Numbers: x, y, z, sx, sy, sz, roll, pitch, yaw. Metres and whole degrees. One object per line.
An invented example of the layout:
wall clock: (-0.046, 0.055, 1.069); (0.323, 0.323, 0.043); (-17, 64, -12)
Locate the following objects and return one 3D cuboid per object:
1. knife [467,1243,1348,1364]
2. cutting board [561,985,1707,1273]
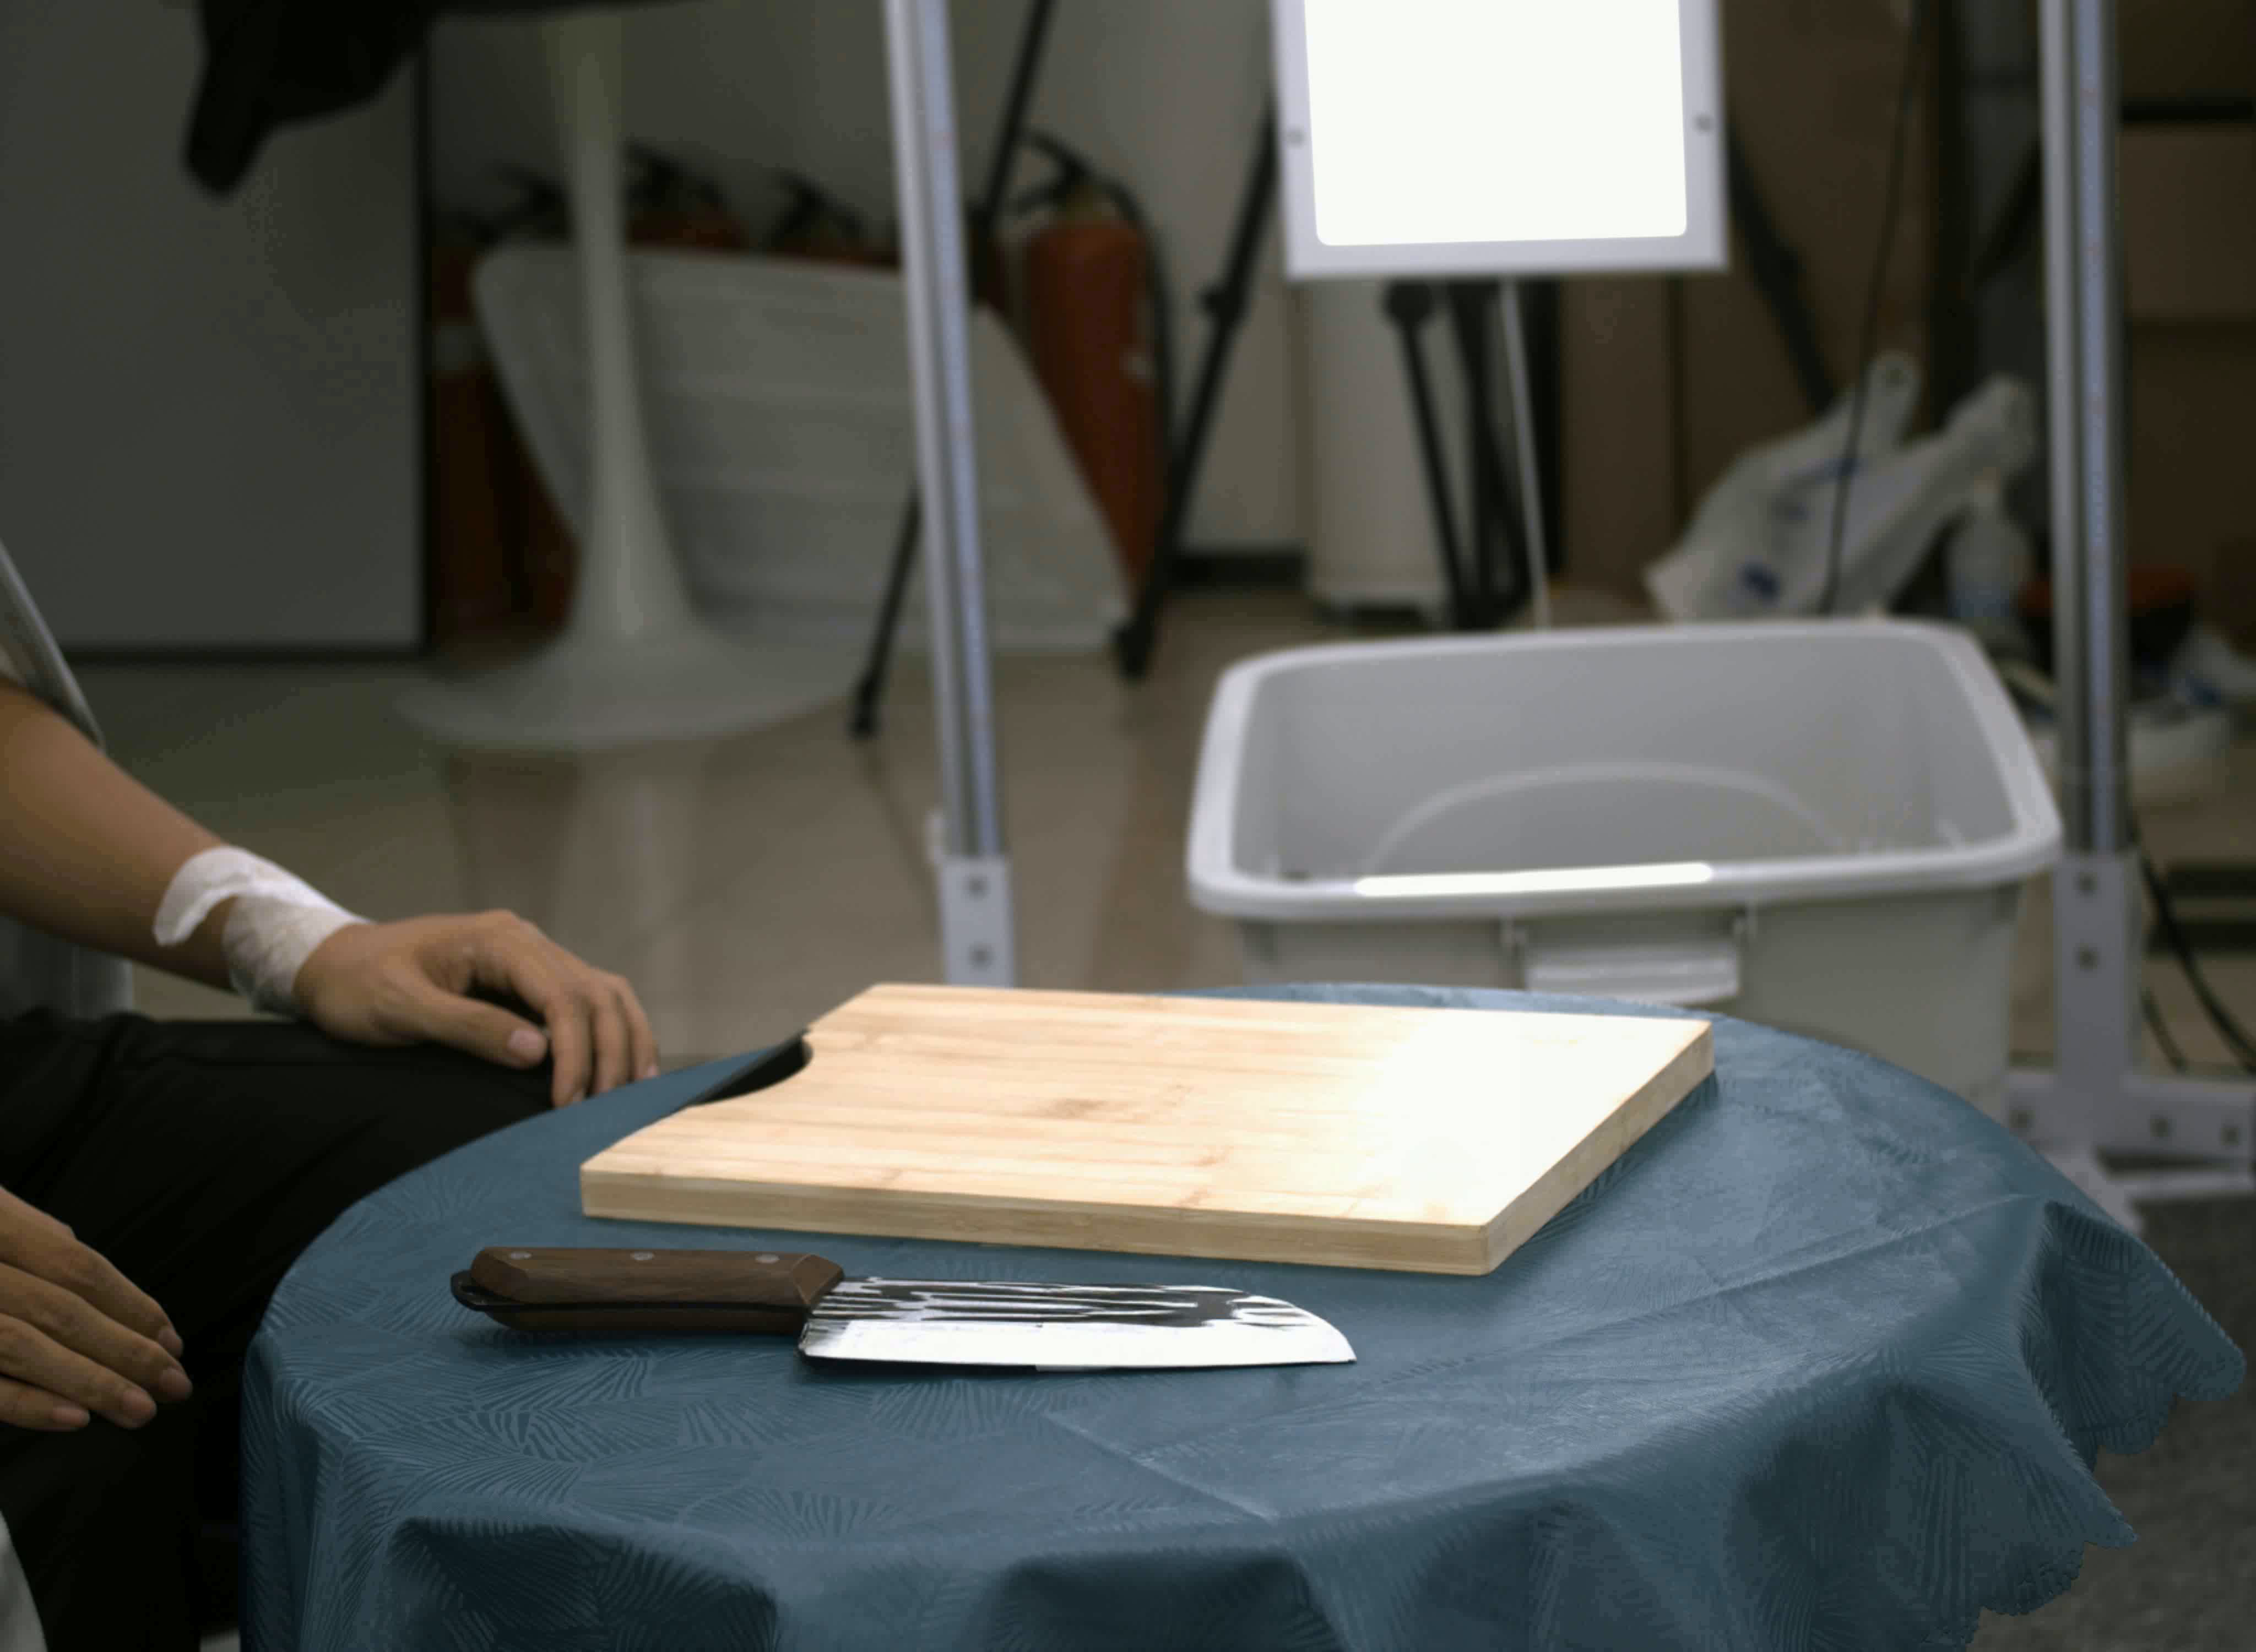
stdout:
knife: (-0.074, 0.156, 1.760); (0.302, 0.024, 0.067); (1, 16, 13)
cutting board: (0.006, 0.104, 1.955); (0.354, 0.023, 0.246); (1, 15, 25)
